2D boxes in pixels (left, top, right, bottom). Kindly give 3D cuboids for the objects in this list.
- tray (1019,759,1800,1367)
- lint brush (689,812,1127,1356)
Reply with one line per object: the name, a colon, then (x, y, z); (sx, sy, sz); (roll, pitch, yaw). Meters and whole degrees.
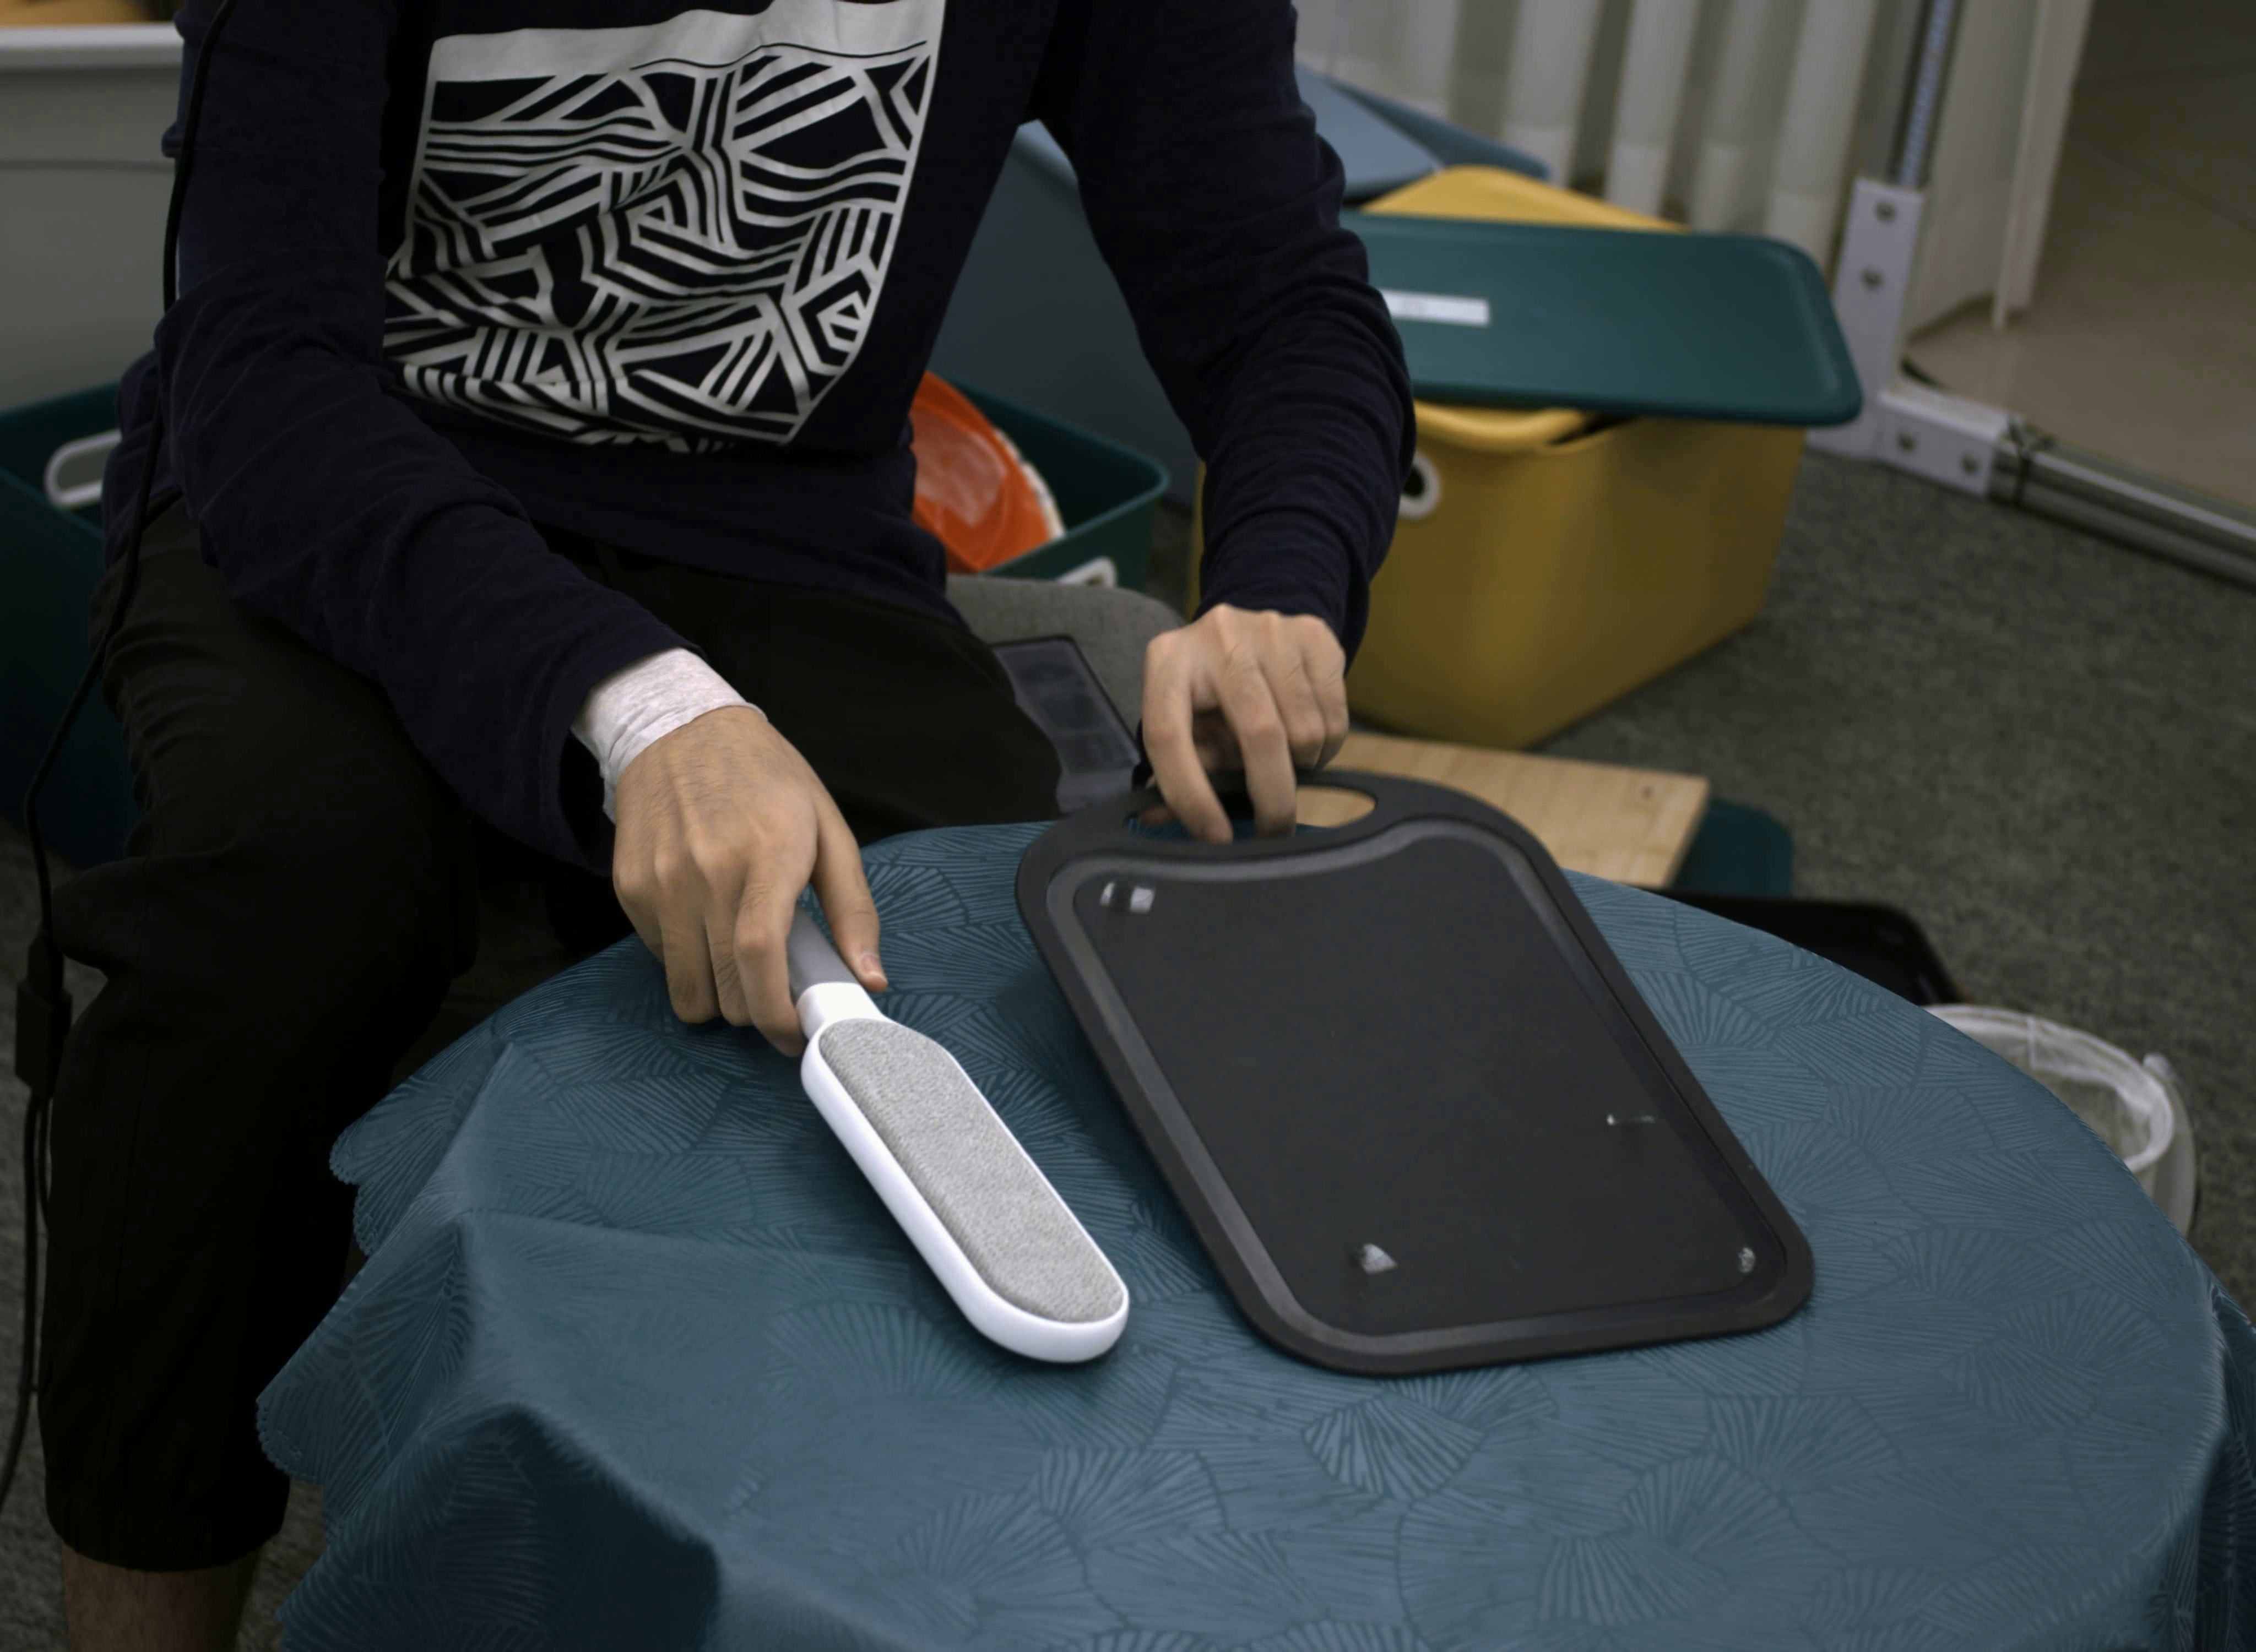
tray: (0.090, 0.073, 1.861); (0.210, 0.010, 0.328); (-4, 38, -20)
lint brush: (-0.082, 0.082, 1.807); (0.059, 0.021, 0.312); (-4, 34, -29)
